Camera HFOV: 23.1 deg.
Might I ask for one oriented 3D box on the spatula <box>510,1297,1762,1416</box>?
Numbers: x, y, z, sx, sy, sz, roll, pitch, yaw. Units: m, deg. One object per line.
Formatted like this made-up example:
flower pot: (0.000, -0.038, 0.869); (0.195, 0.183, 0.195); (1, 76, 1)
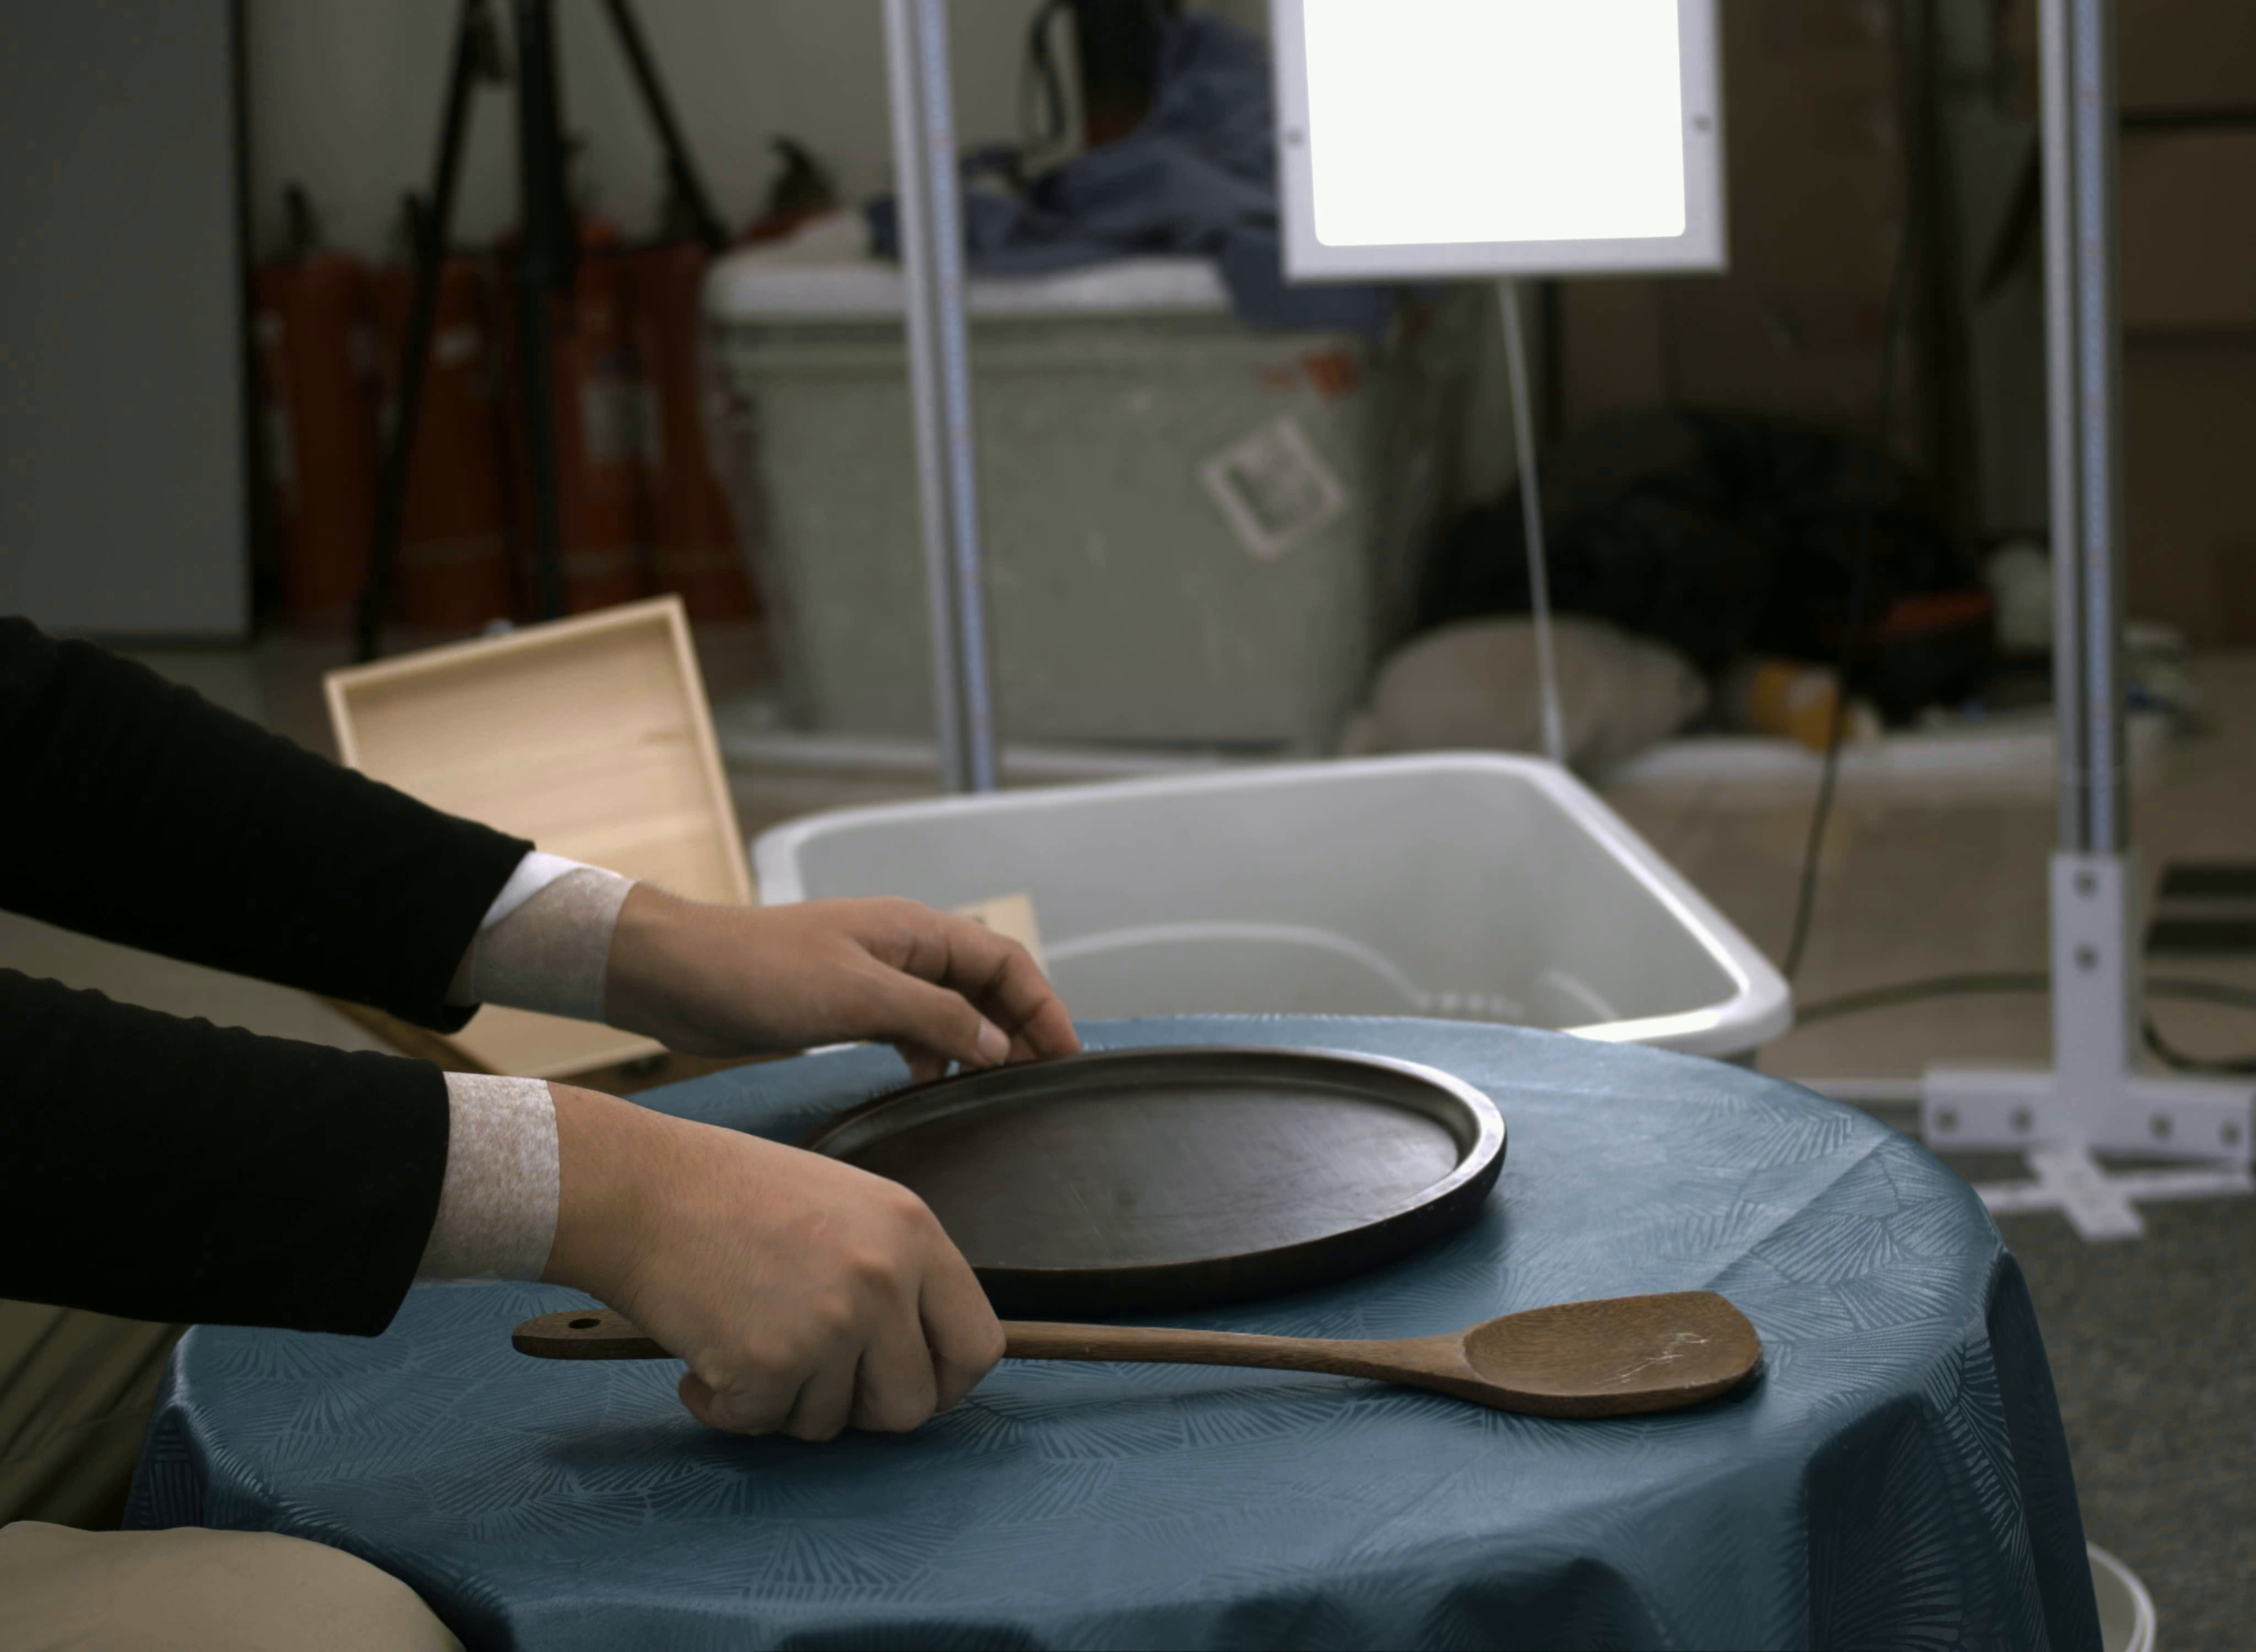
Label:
spatula: (0.002, 0.159, 1.690); (0.386, 0.016, 0.095); (1, 13, 4)

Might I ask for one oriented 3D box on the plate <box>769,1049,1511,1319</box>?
plate: (0.005, 0.119, 1.877); (0.254, 0.029, 0.254); (-5, 15, 0)
